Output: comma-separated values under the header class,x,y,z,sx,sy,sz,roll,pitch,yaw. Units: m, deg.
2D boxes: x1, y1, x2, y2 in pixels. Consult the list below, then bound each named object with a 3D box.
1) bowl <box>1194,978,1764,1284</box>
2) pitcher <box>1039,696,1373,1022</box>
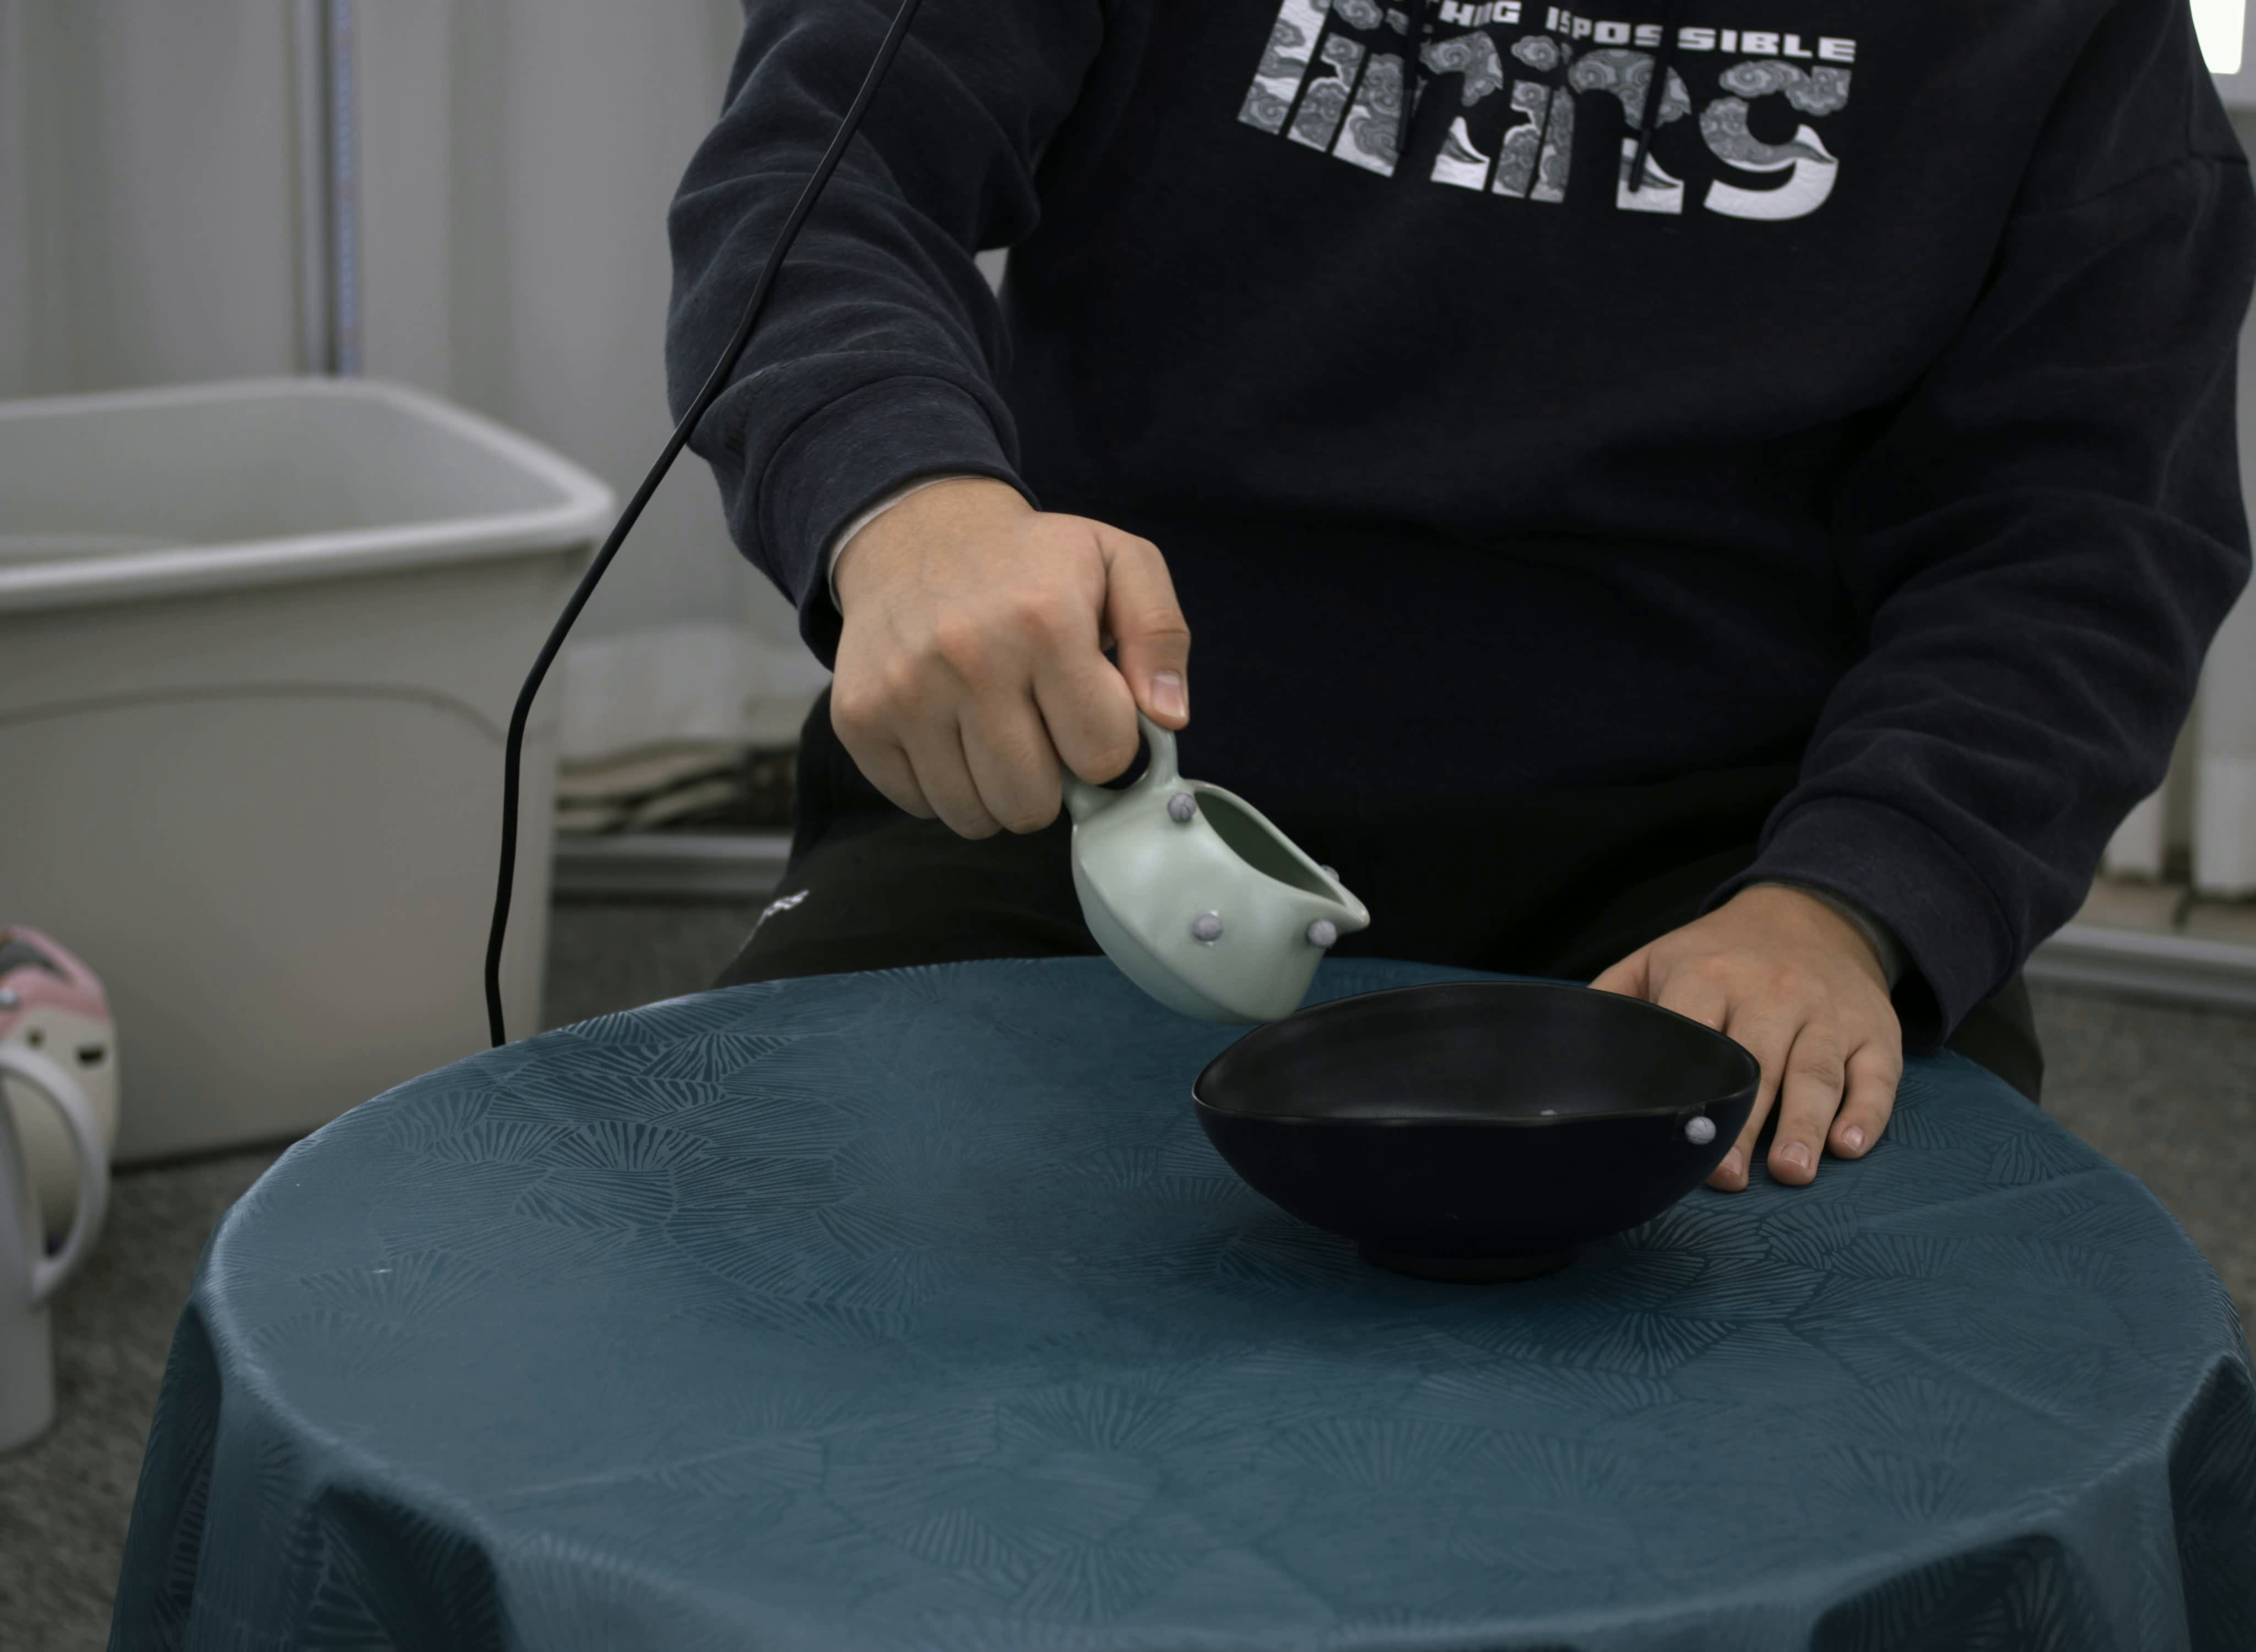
class,x,y,z,sx,sy,sz,roll,pitch,yaw
bowl,0.105,0.096,1.573,0.170,0.067,0.136,-1,15,-4
pitcher,0.015,0.011,1.545,0.108,0.060,0.086,39,18,-2
